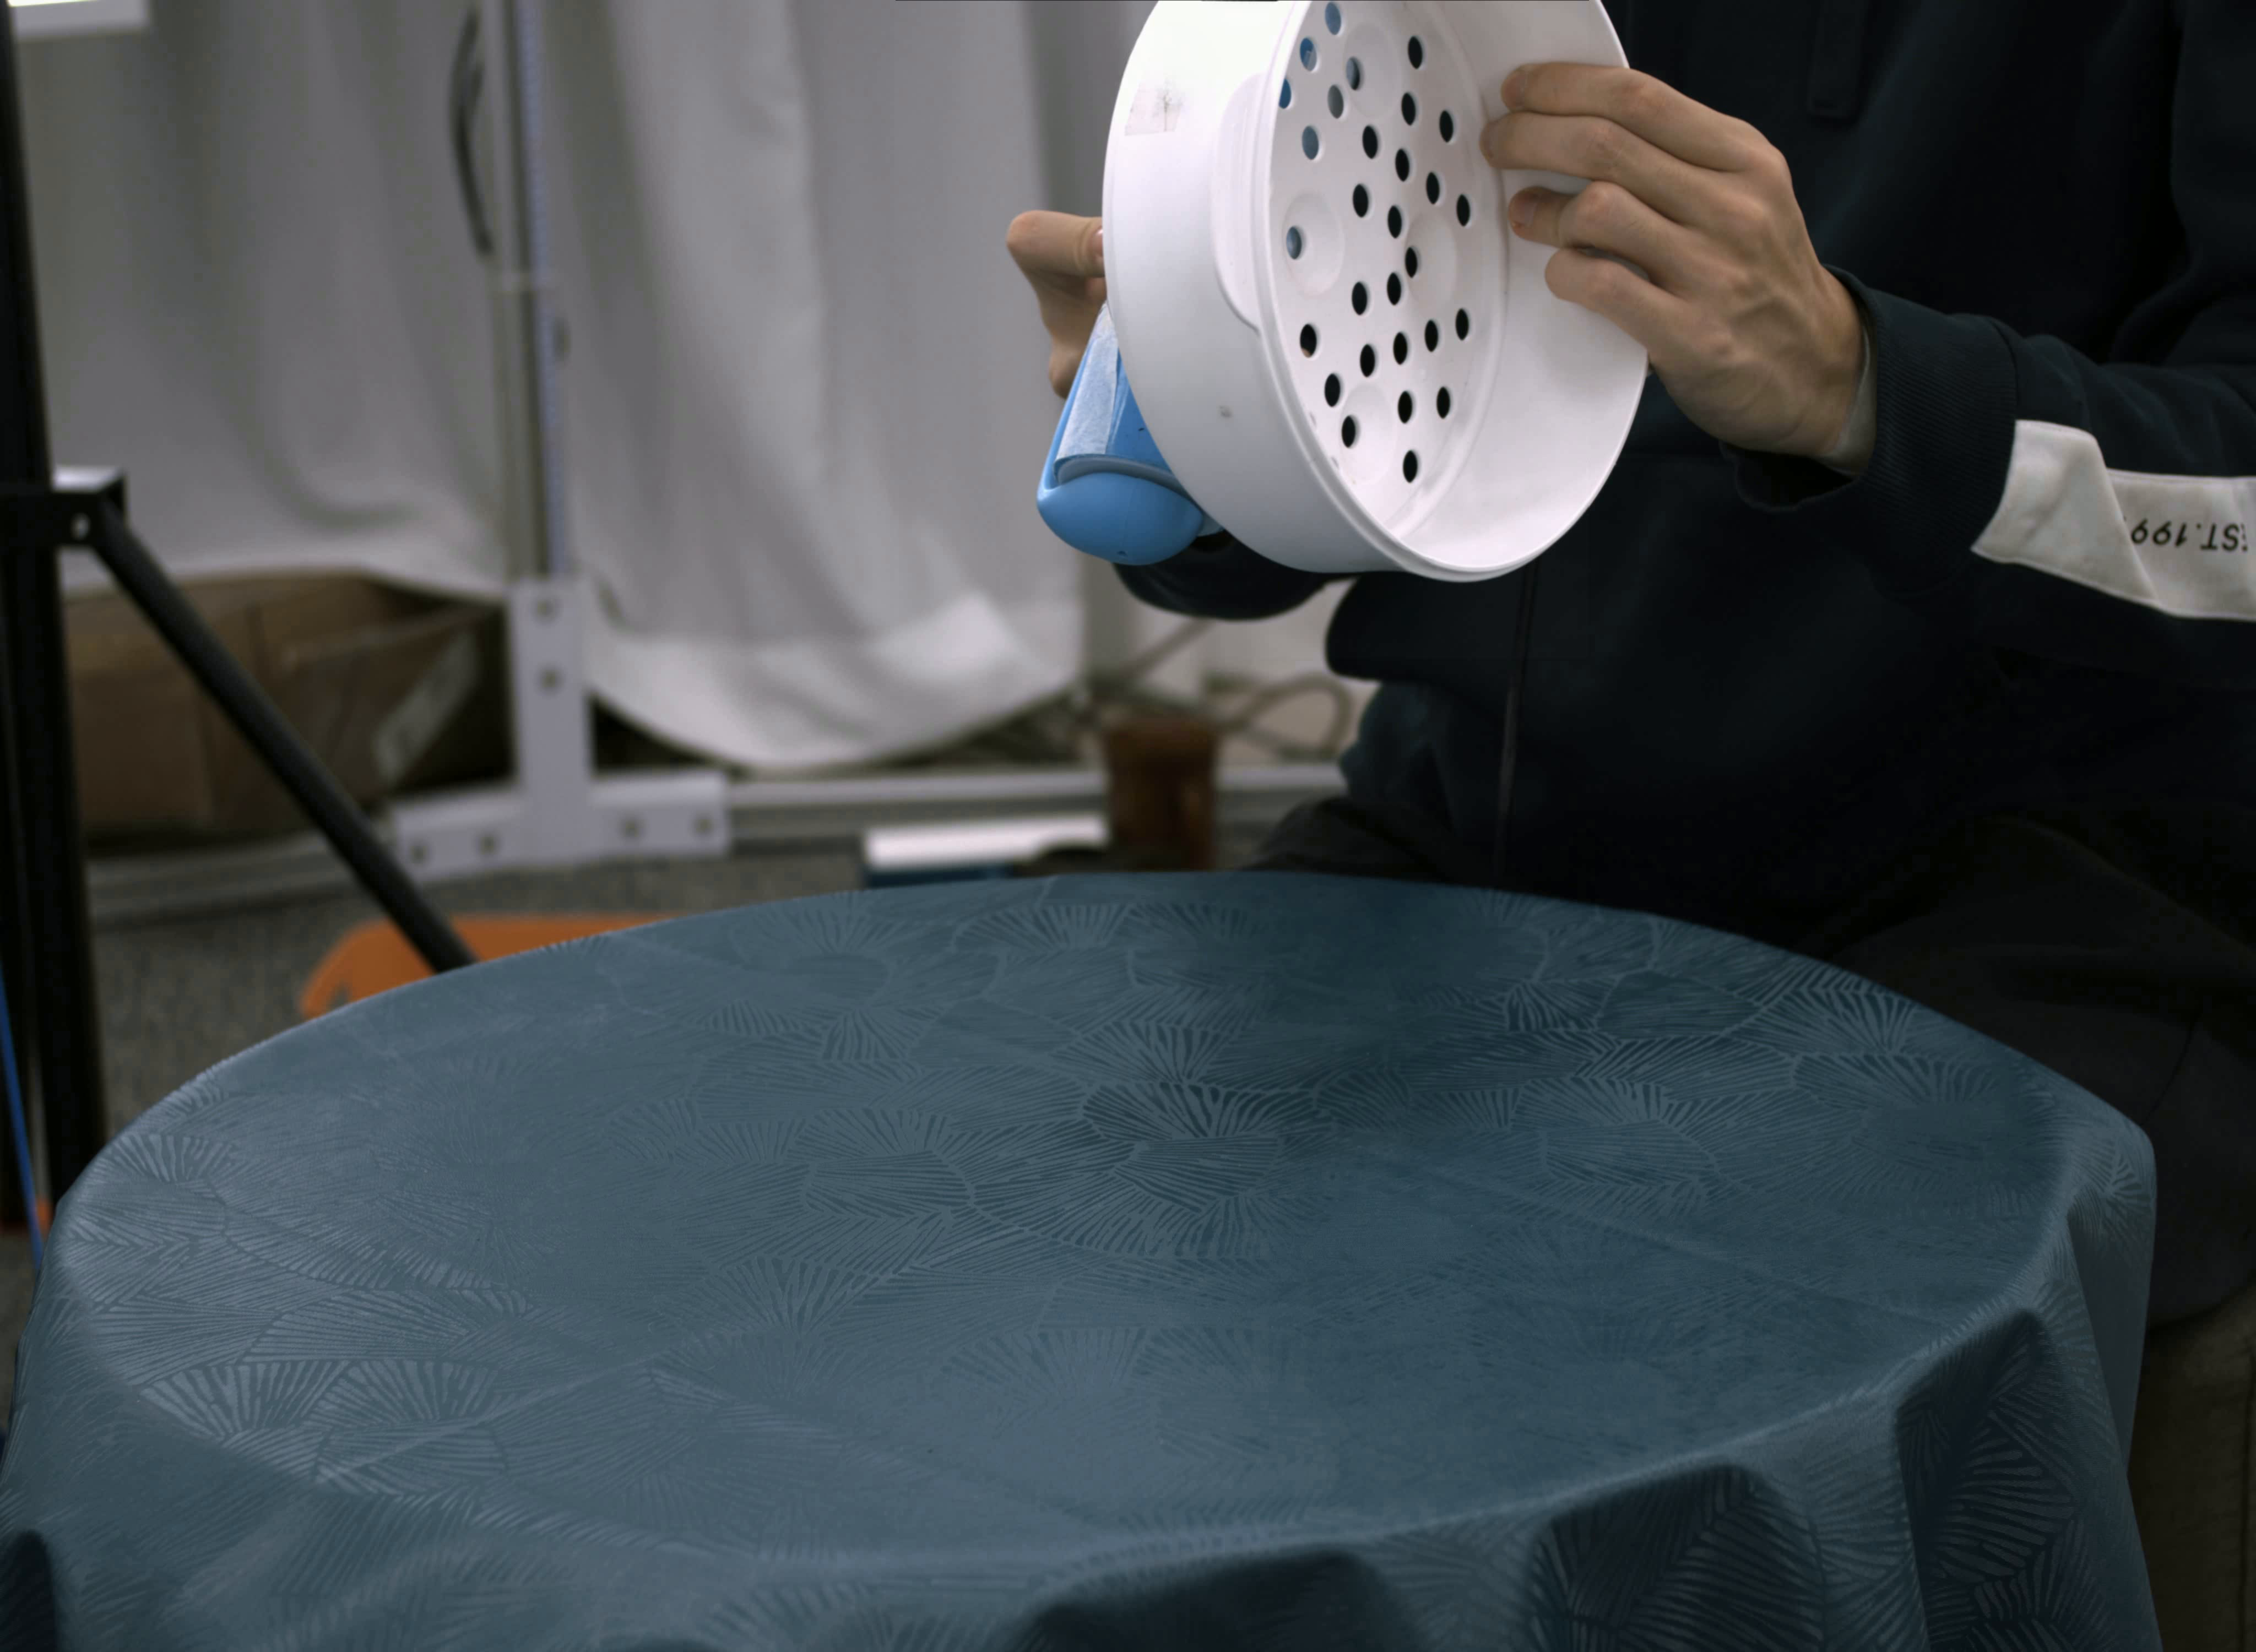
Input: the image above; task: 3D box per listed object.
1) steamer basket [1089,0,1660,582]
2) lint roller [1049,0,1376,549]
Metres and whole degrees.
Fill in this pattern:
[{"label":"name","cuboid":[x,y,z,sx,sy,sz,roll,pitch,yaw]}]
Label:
[{"label":"steamer basket","cuboid":[0.069,-0.171,1.533,0.070,0.203,0.224,1,0,38]},{"label":"lint roller","cuboid":[0.028,-0.164,1.631,0.068,0.230,0.179,13,-23,4]}]
